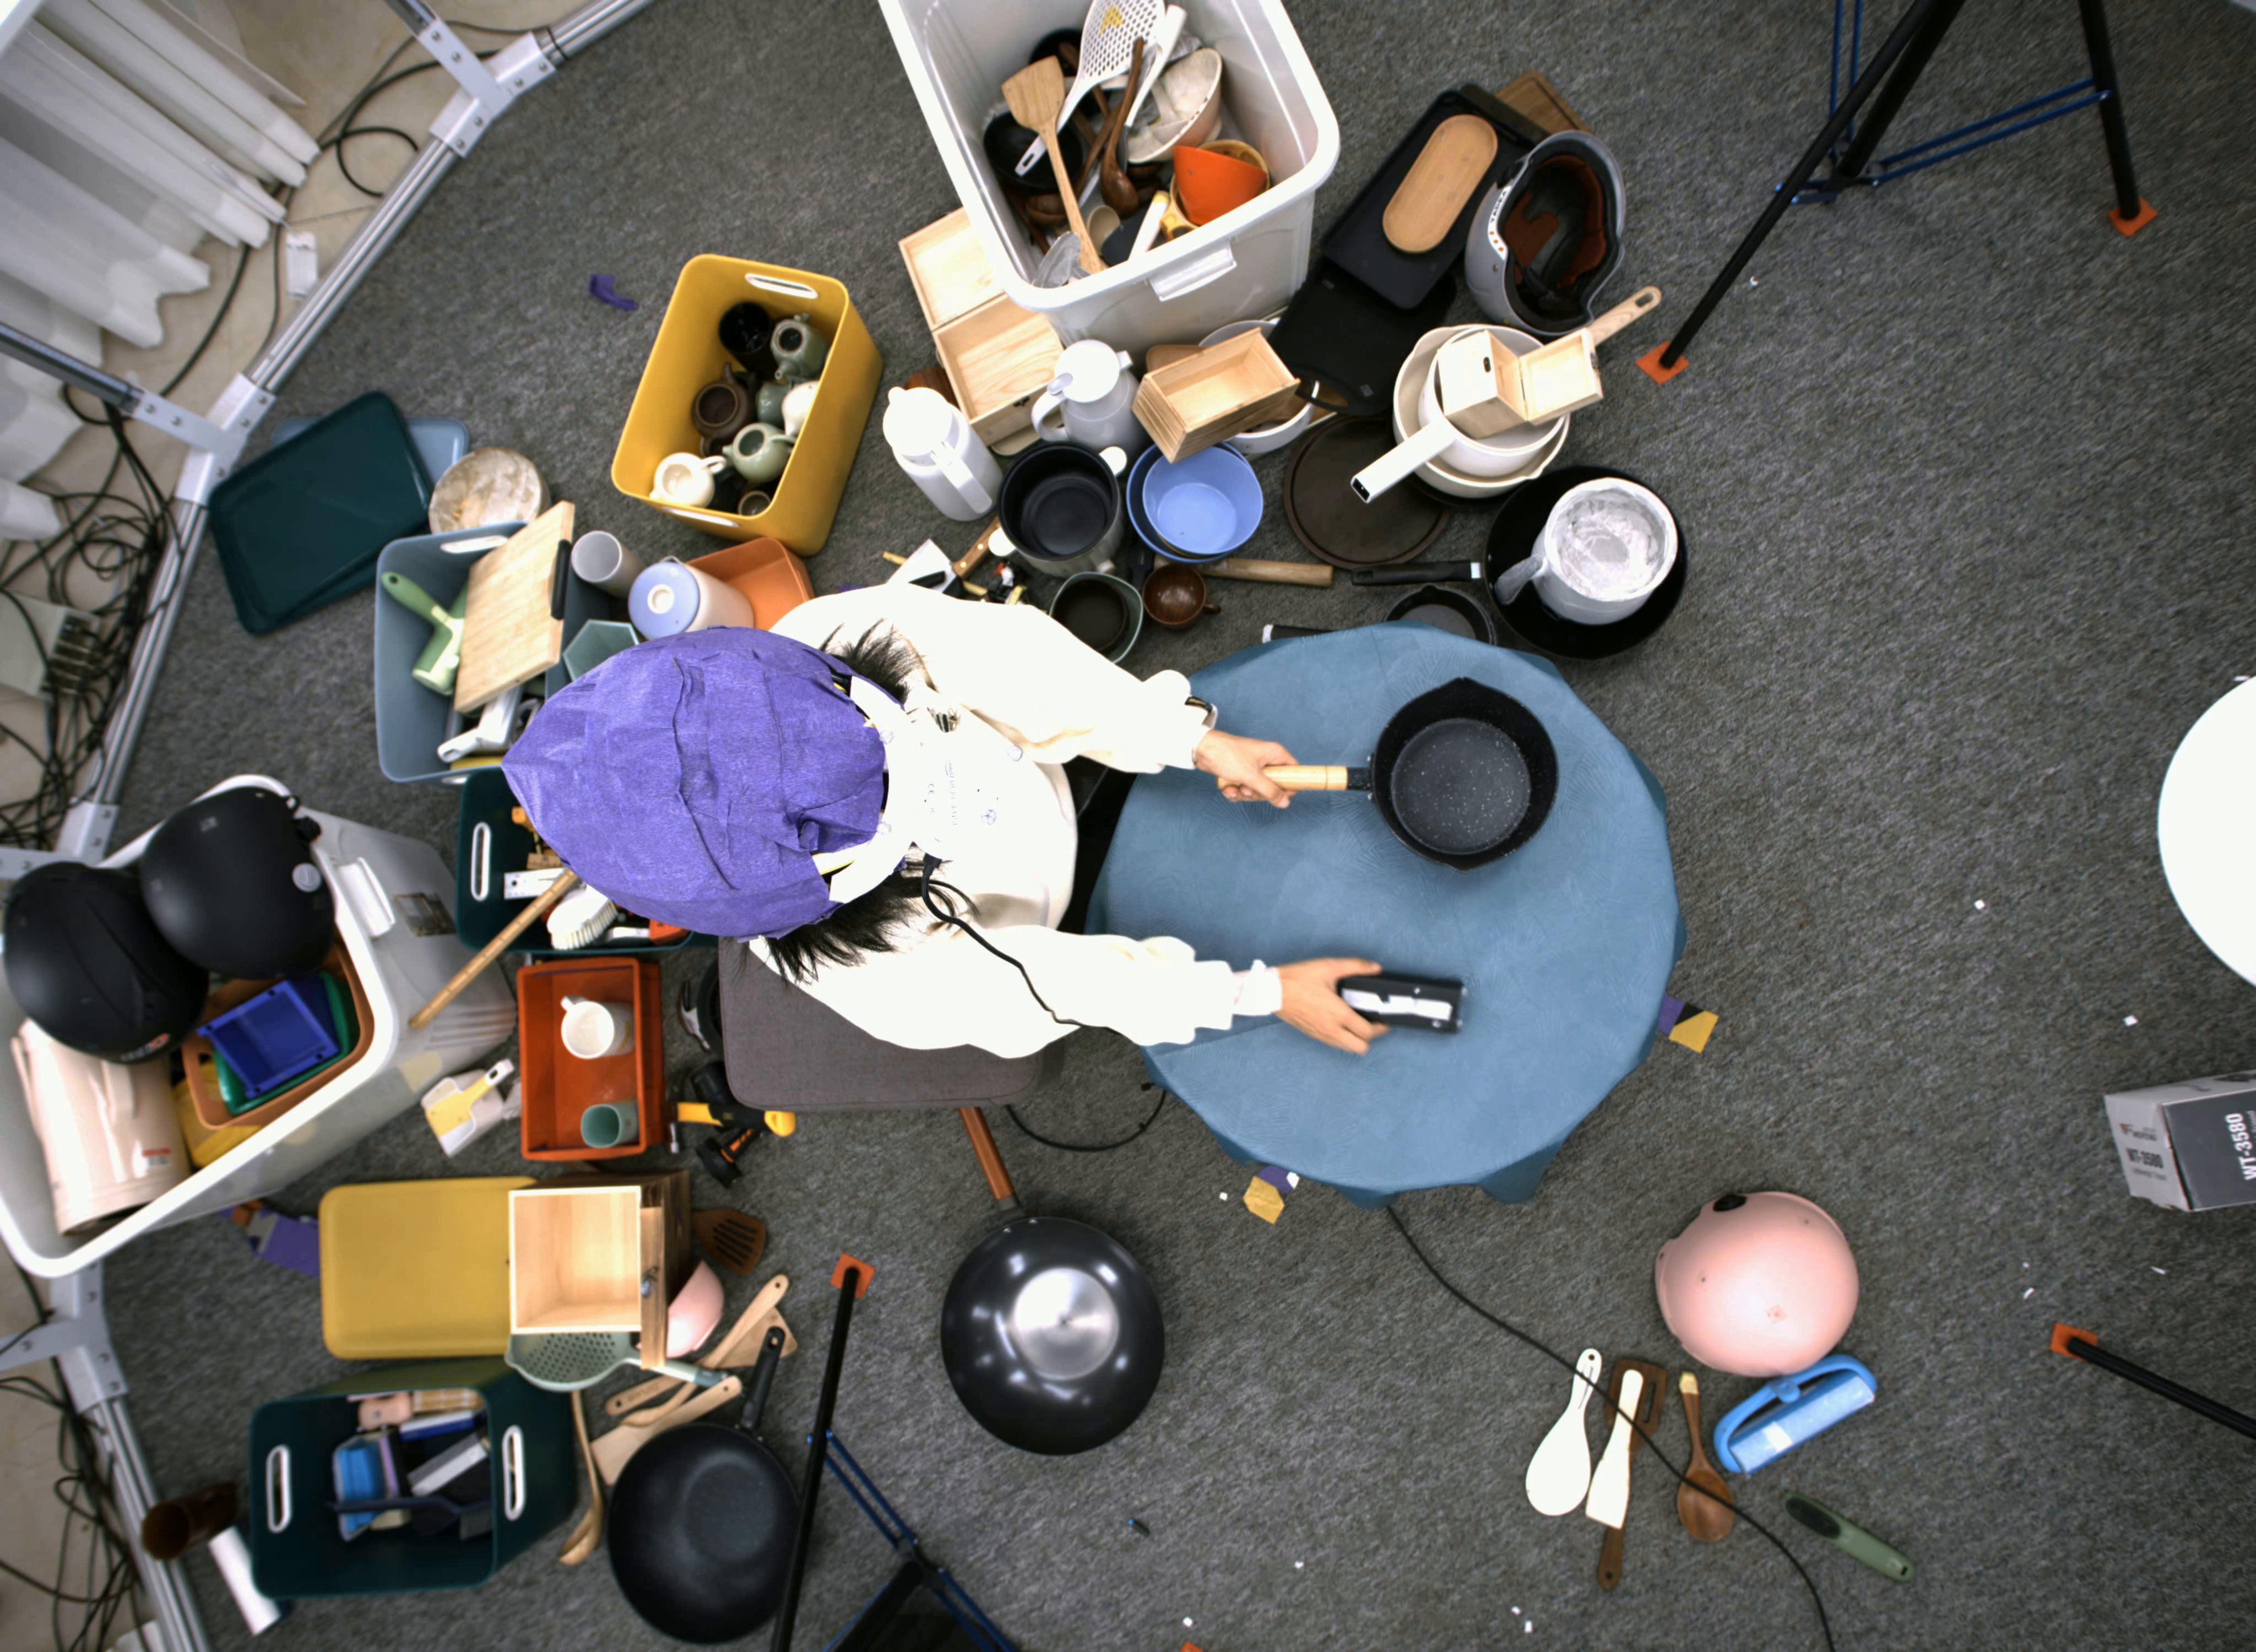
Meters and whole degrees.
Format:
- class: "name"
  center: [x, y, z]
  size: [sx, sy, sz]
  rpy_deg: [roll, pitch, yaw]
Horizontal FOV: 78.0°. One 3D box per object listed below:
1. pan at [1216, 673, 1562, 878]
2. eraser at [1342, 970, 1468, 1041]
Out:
- class: "pan"
  center: [0.264, -0.048, 1.412]
  size: [0.344, 0.108, 0.206]
  rpy_deg: [-1, 87, 9]
- class: "eraser"
  center: [0.287, 0.183, 1.431]
  size: [0.126, 0.030, 0.054]
  rpy_deg: [8, 101, 10]
